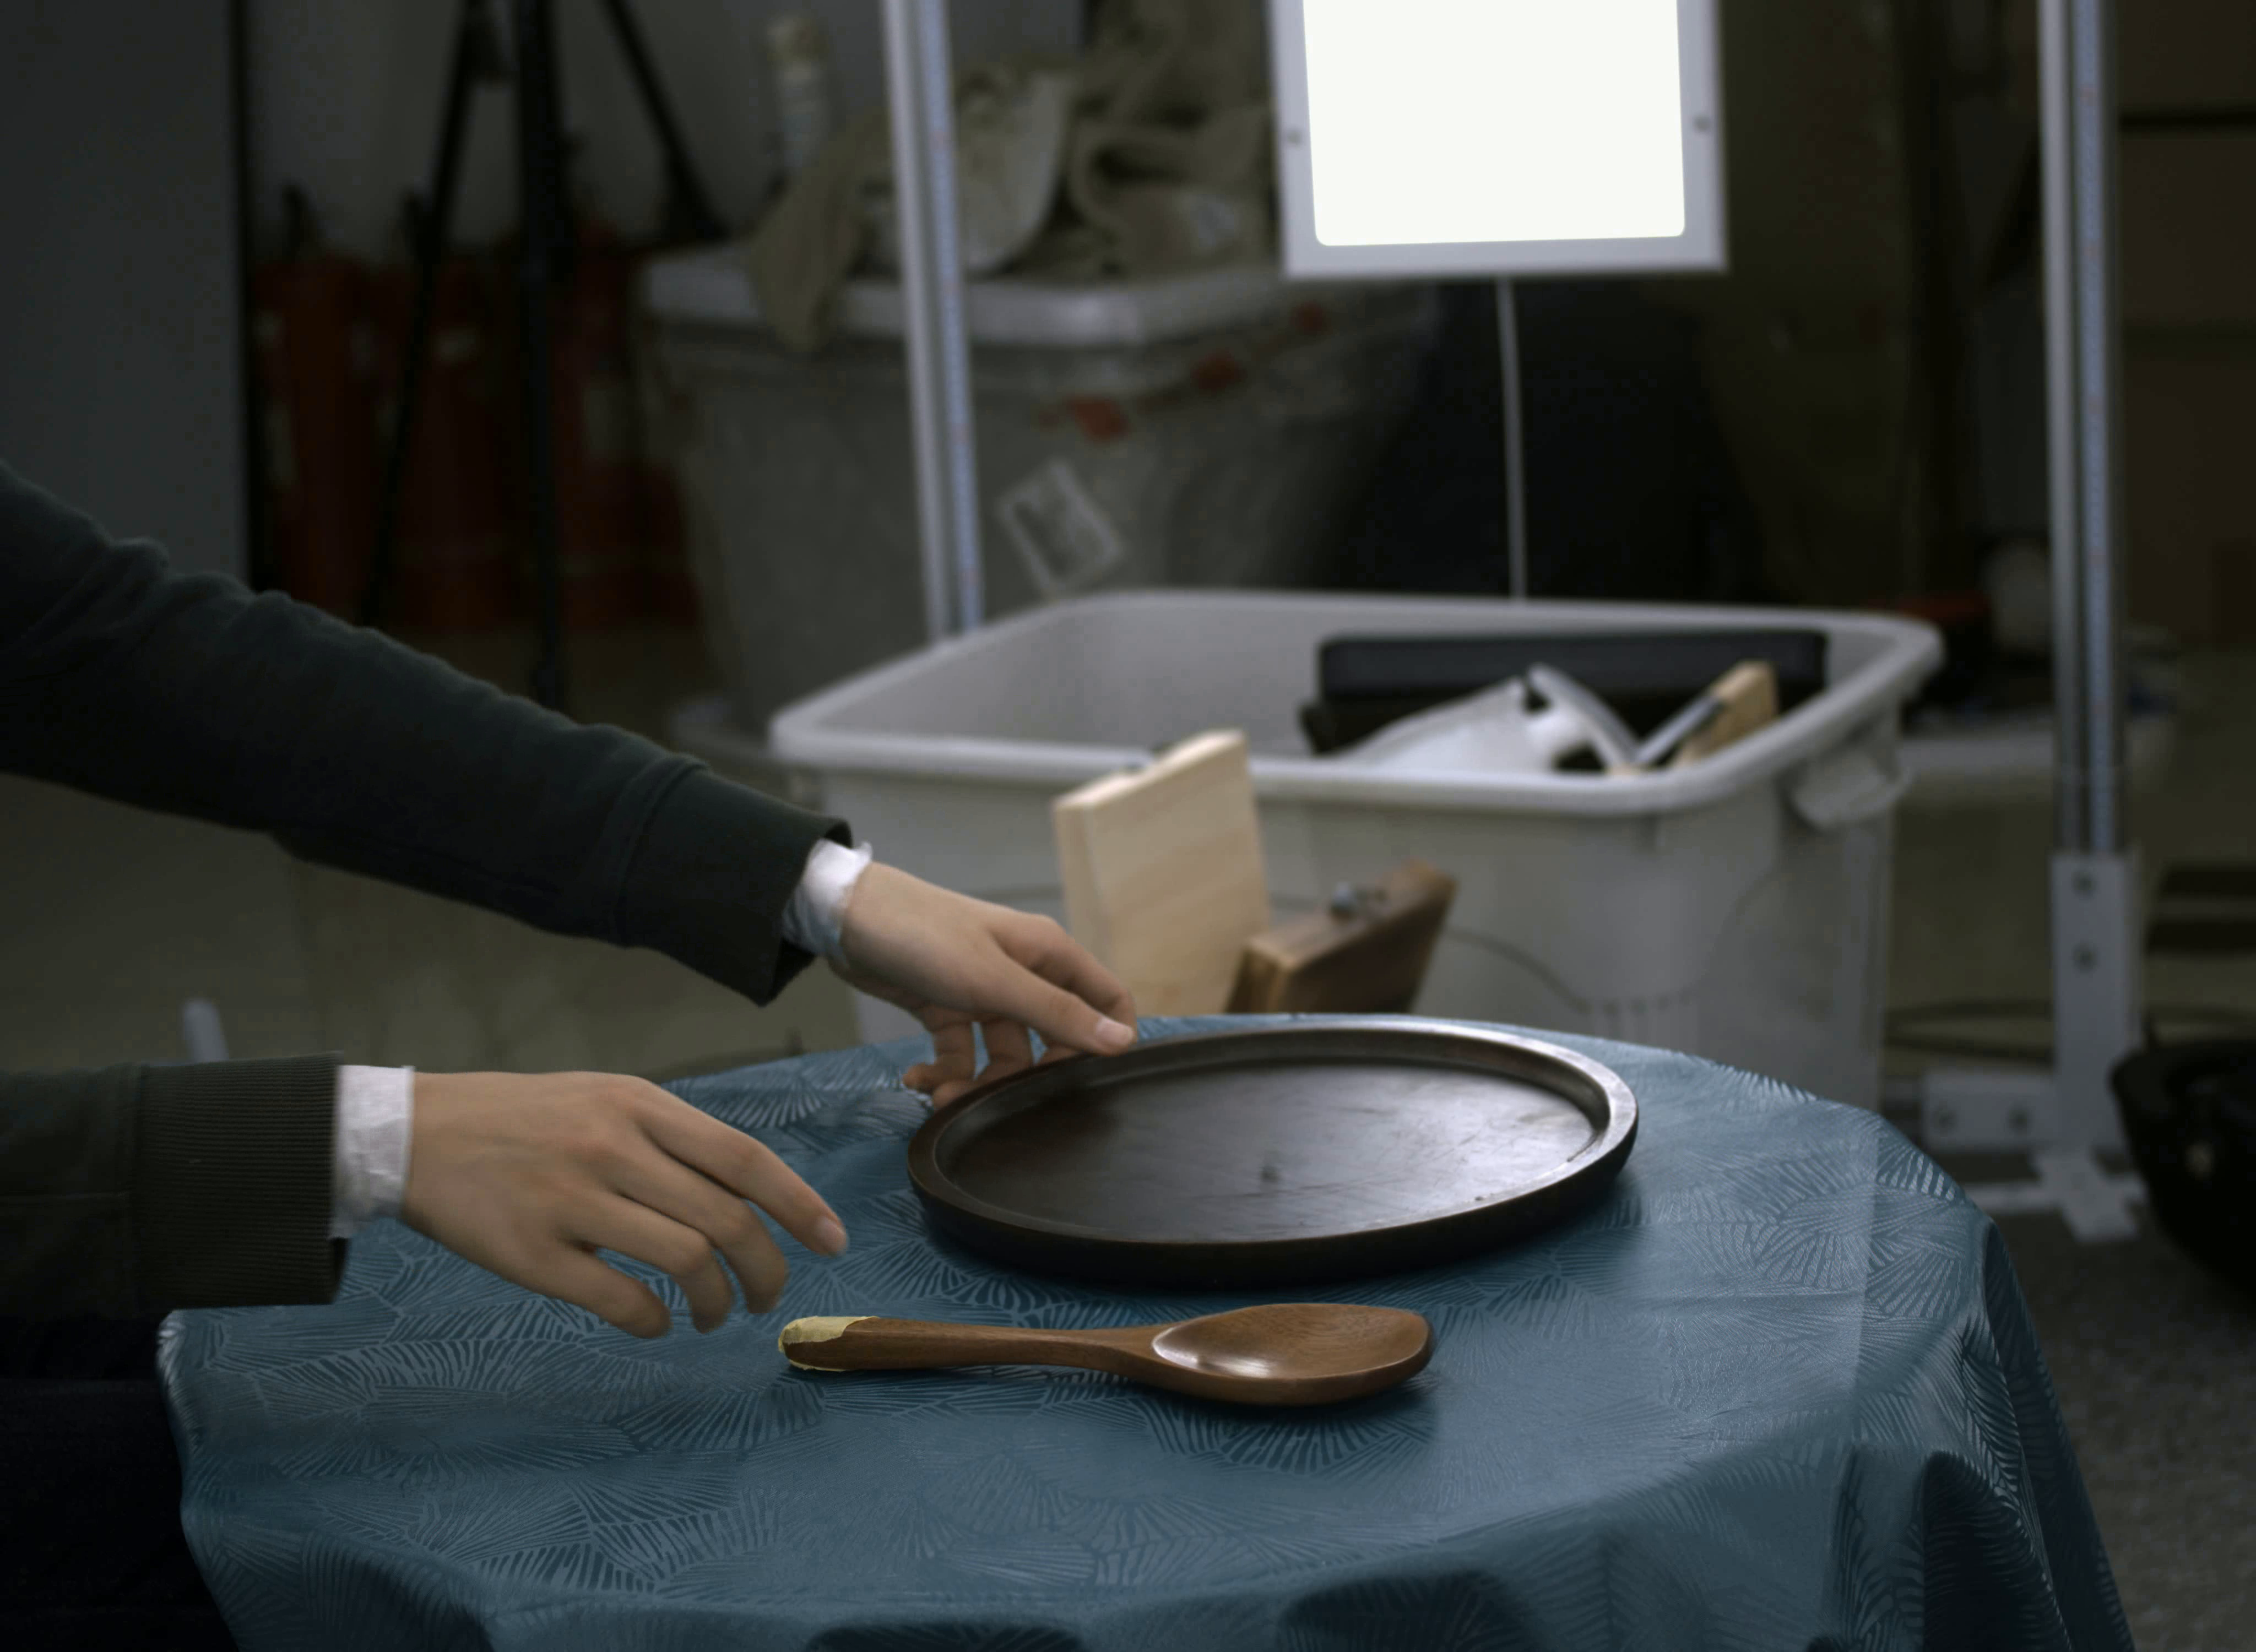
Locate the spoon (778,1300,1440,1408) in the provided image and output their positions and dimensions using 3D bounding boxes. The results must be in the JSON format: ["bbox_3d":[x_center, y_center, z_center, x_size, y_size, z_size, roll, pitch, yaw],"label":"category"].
[{"bbox_3d":[-0.007,0.163,1.713,0.219,0.017,0.074,1,15,21],"label":"spoon"}]

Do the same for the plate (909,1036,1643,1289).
[{"bbox_3d":[0.051,0.113,1.890,0.254,0.029,0.254,-4,13,0],"label":"plate"}]
